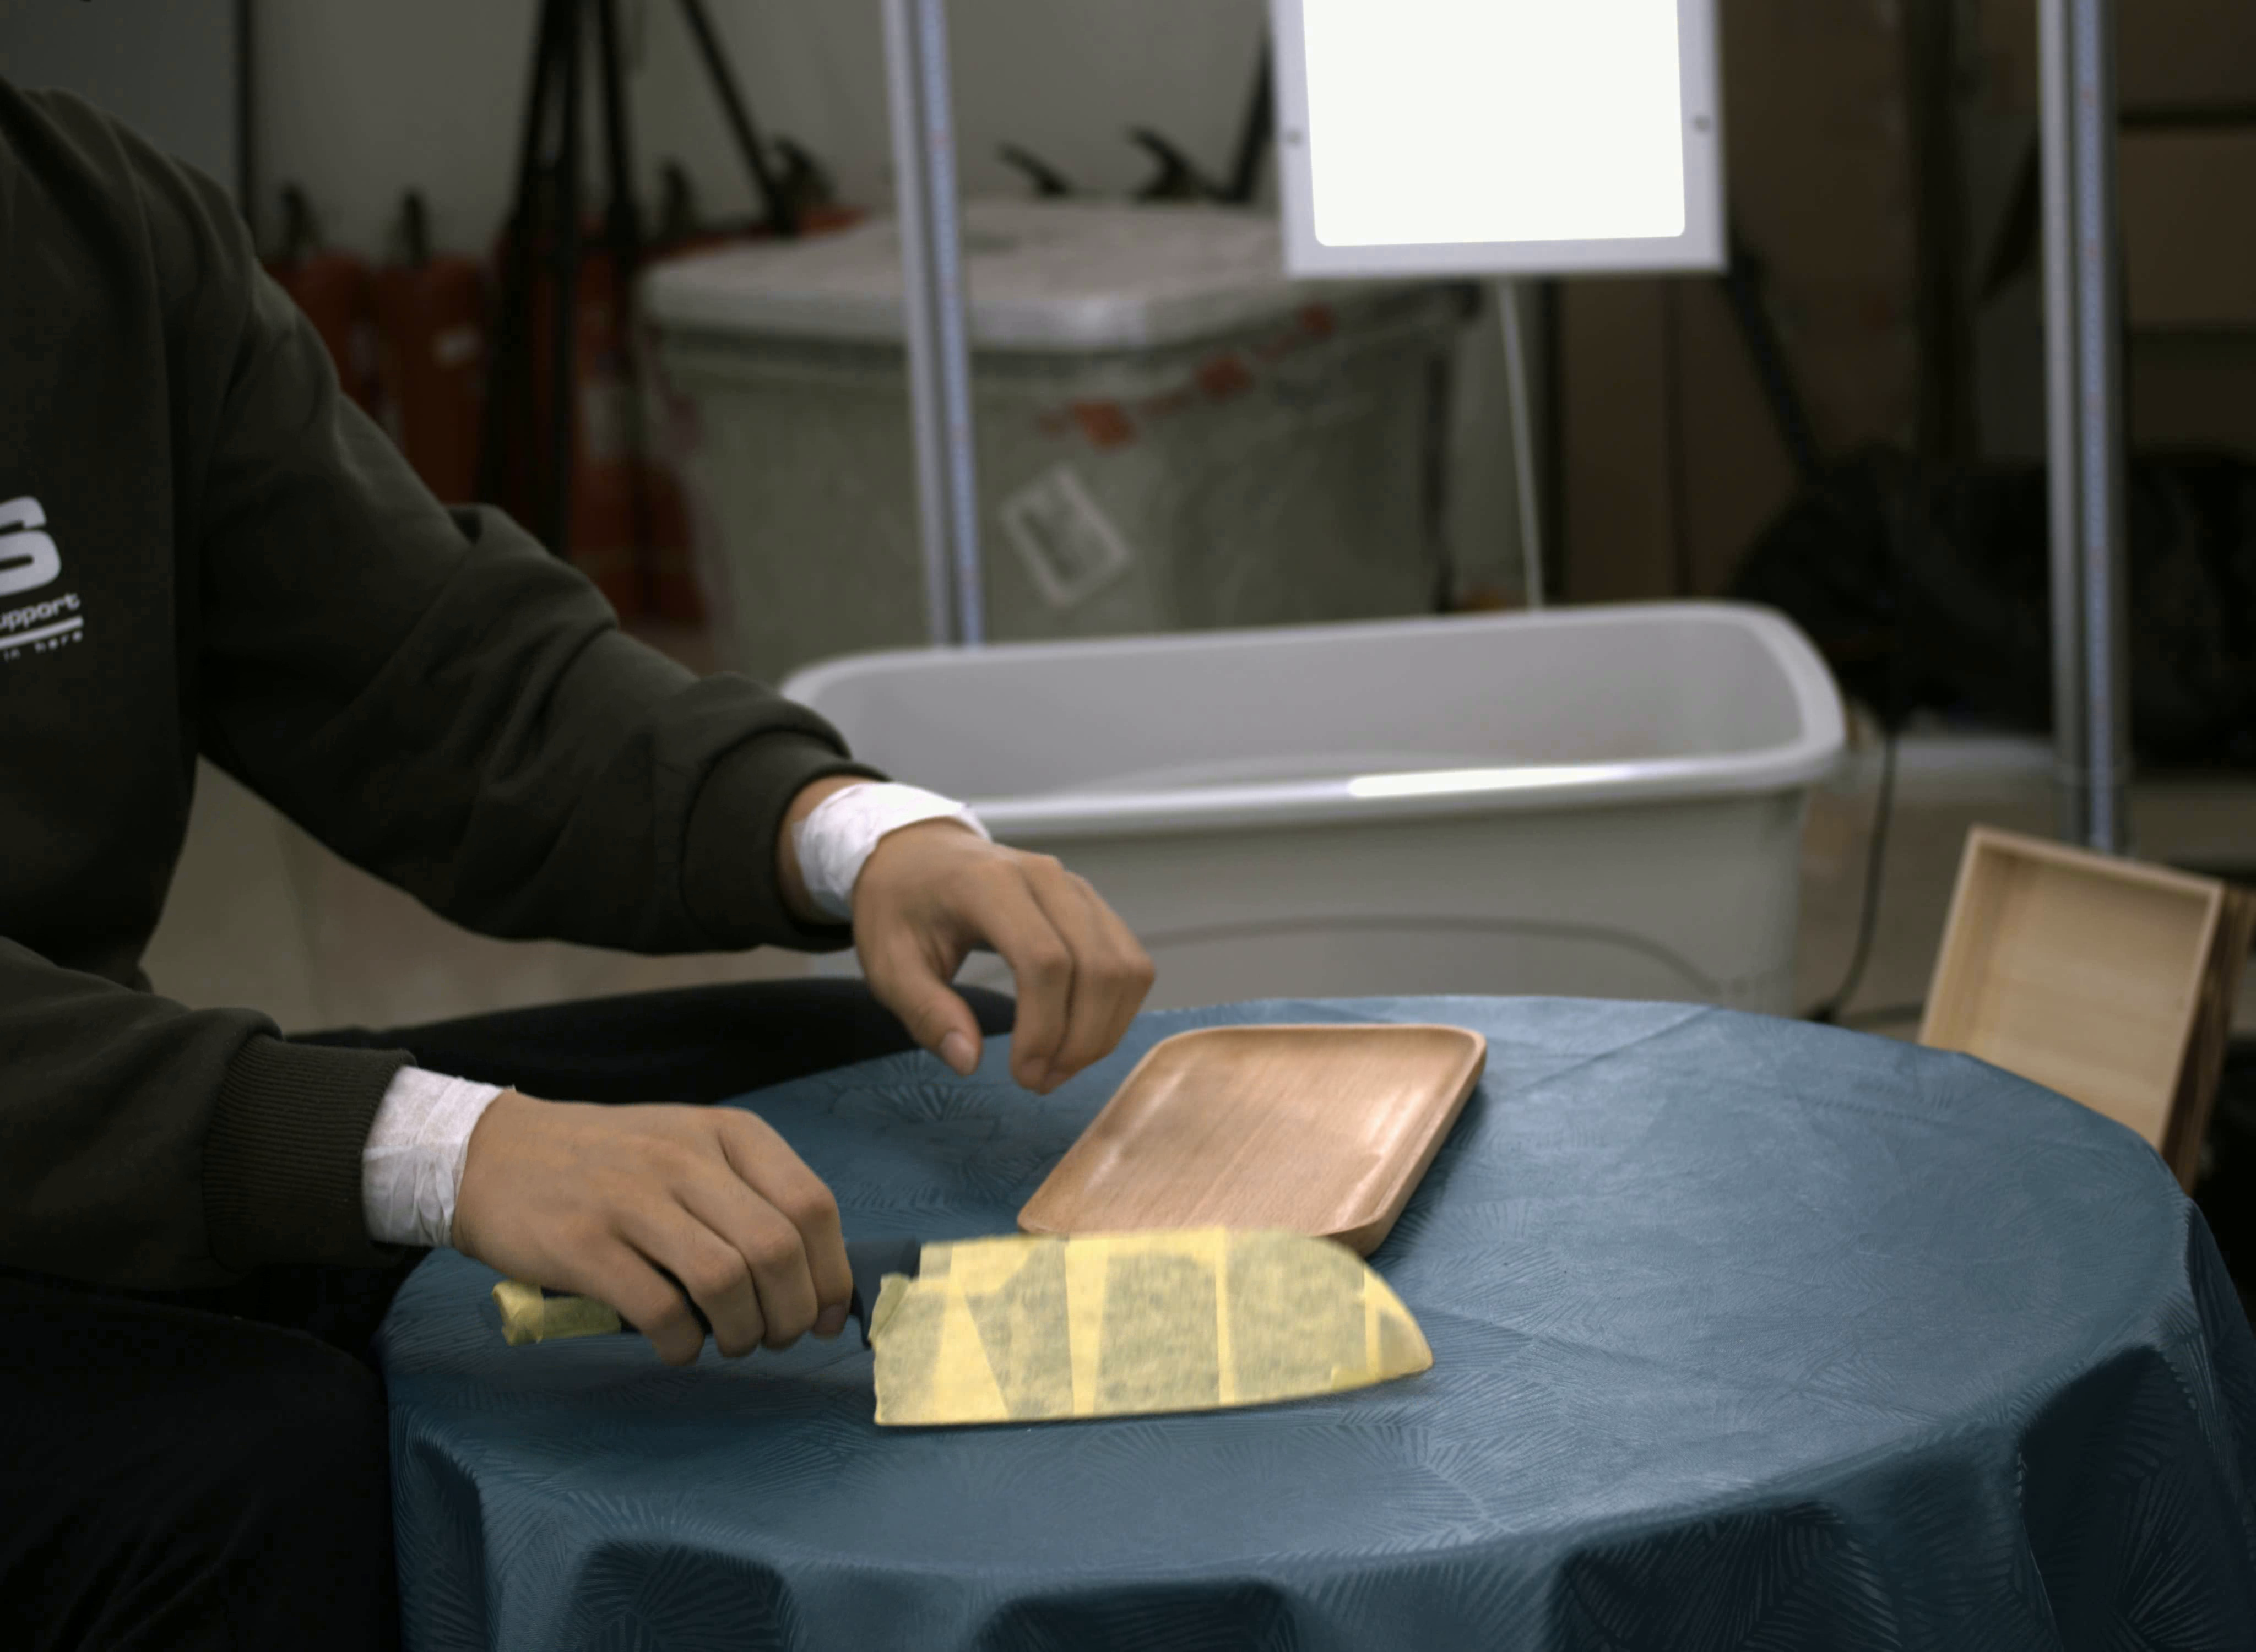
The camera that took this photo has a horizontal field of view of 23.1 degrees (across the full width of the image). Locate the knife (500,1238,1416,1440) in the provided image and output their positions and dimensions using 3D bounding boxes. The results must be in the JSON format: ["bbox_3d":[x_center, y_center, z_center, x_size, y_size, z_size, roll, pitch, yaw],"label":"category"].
[{"bbox_3d":[-0.054,0.160,1.707,0.290,0.027,0.080,-3,40,8],"label":"knife"}]

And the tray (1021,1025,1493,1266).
[{"bbox_3d":[0.049,0.110,1.916,0.132,0.023,0.247,-4,14,16],"label":"tray"}]
